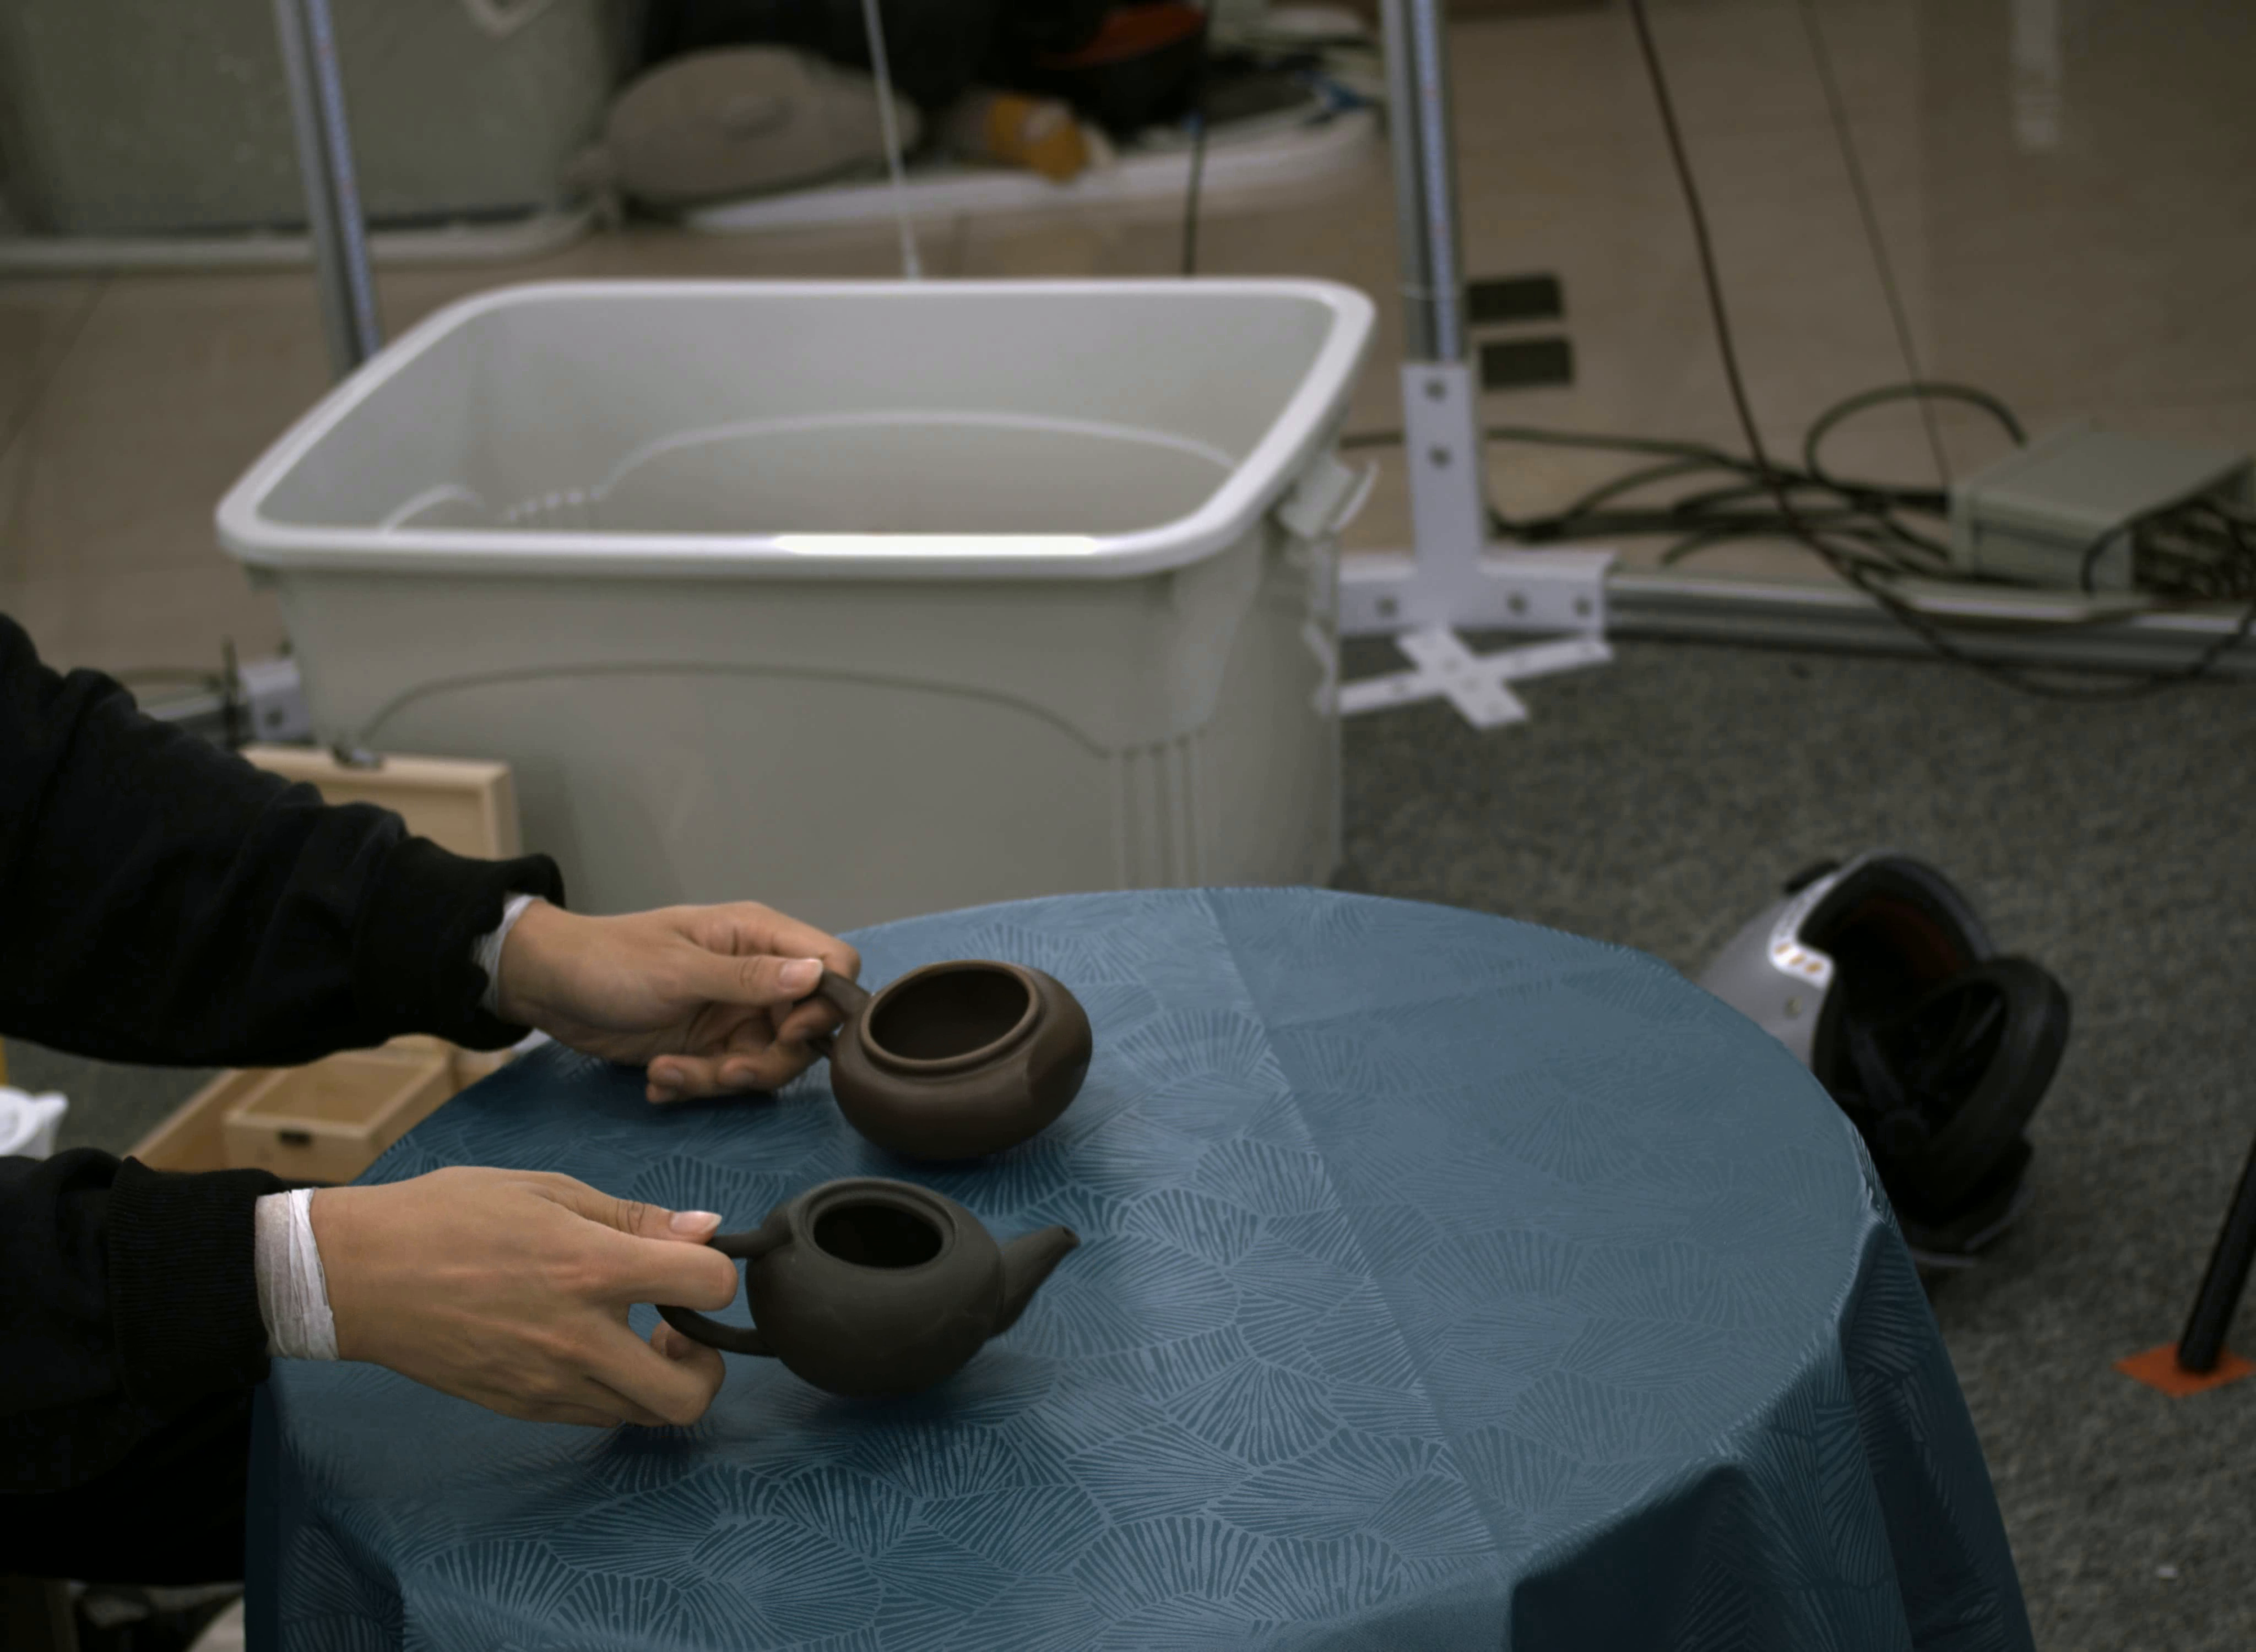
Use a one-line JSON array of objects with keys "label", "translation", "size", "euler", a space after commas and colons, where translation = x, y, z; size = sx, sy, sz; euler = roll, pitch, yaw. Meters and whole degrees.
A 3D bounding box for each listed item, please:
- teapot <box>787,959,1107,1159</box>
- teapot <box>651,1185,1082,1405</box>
[{"label": "teapot", "translation": [-0.069, 0.088, 2.202], "size": [0.153, 0.055, 0.101], "euler": [11, 37, 30]}, {"label": "teapot", "translation": [-0.093, 0.166, 2.020], "size": [0.154, 0.065, 0.091], "euler": [1, 29, -12]}]
